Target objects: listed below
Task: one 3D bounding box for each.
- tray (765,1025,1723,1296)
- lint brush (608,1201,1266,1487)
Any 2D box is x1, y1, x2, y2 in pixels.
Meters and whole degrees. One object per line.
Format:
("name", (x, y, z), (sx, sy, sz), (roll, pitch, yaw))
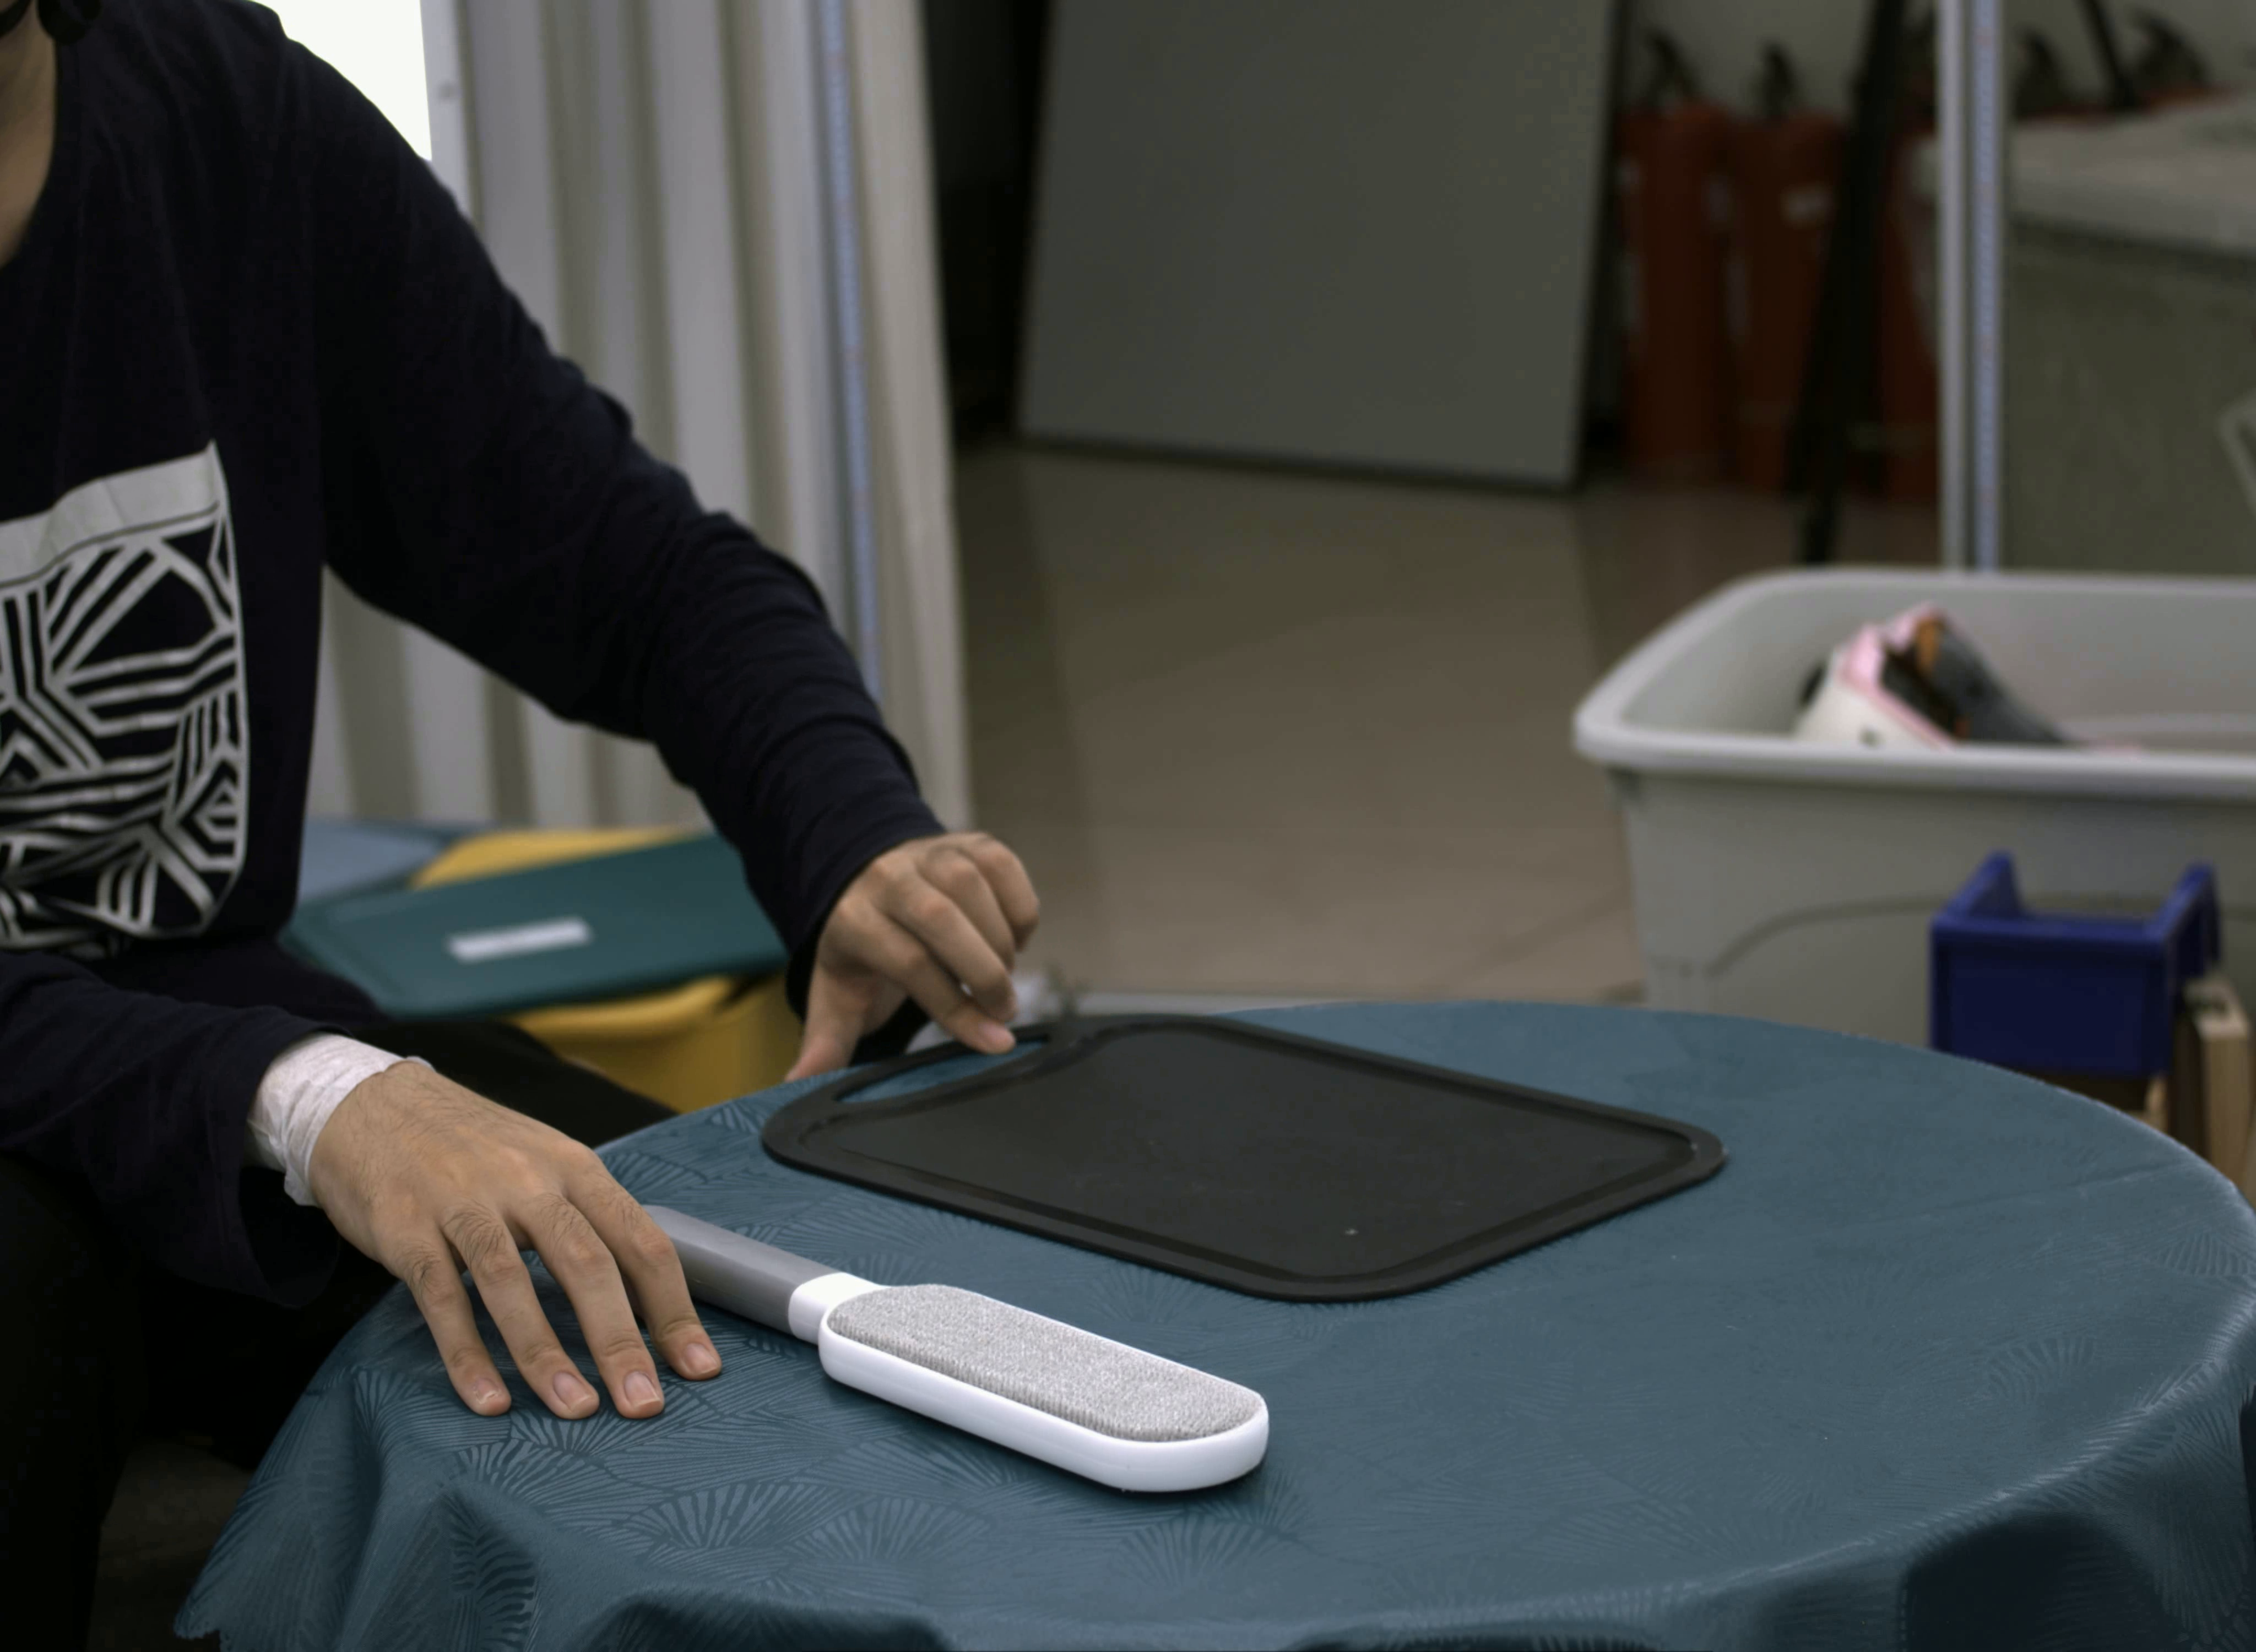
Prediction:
("tray", (0.029, 0.107, 1.815), (0.206, 0.010, 0.328), (-15, 17, -40))
("lint brush", (-0.065, 0.151, 1.615), (0.059, 0.021, 0.312), (-20, 20, -34))
